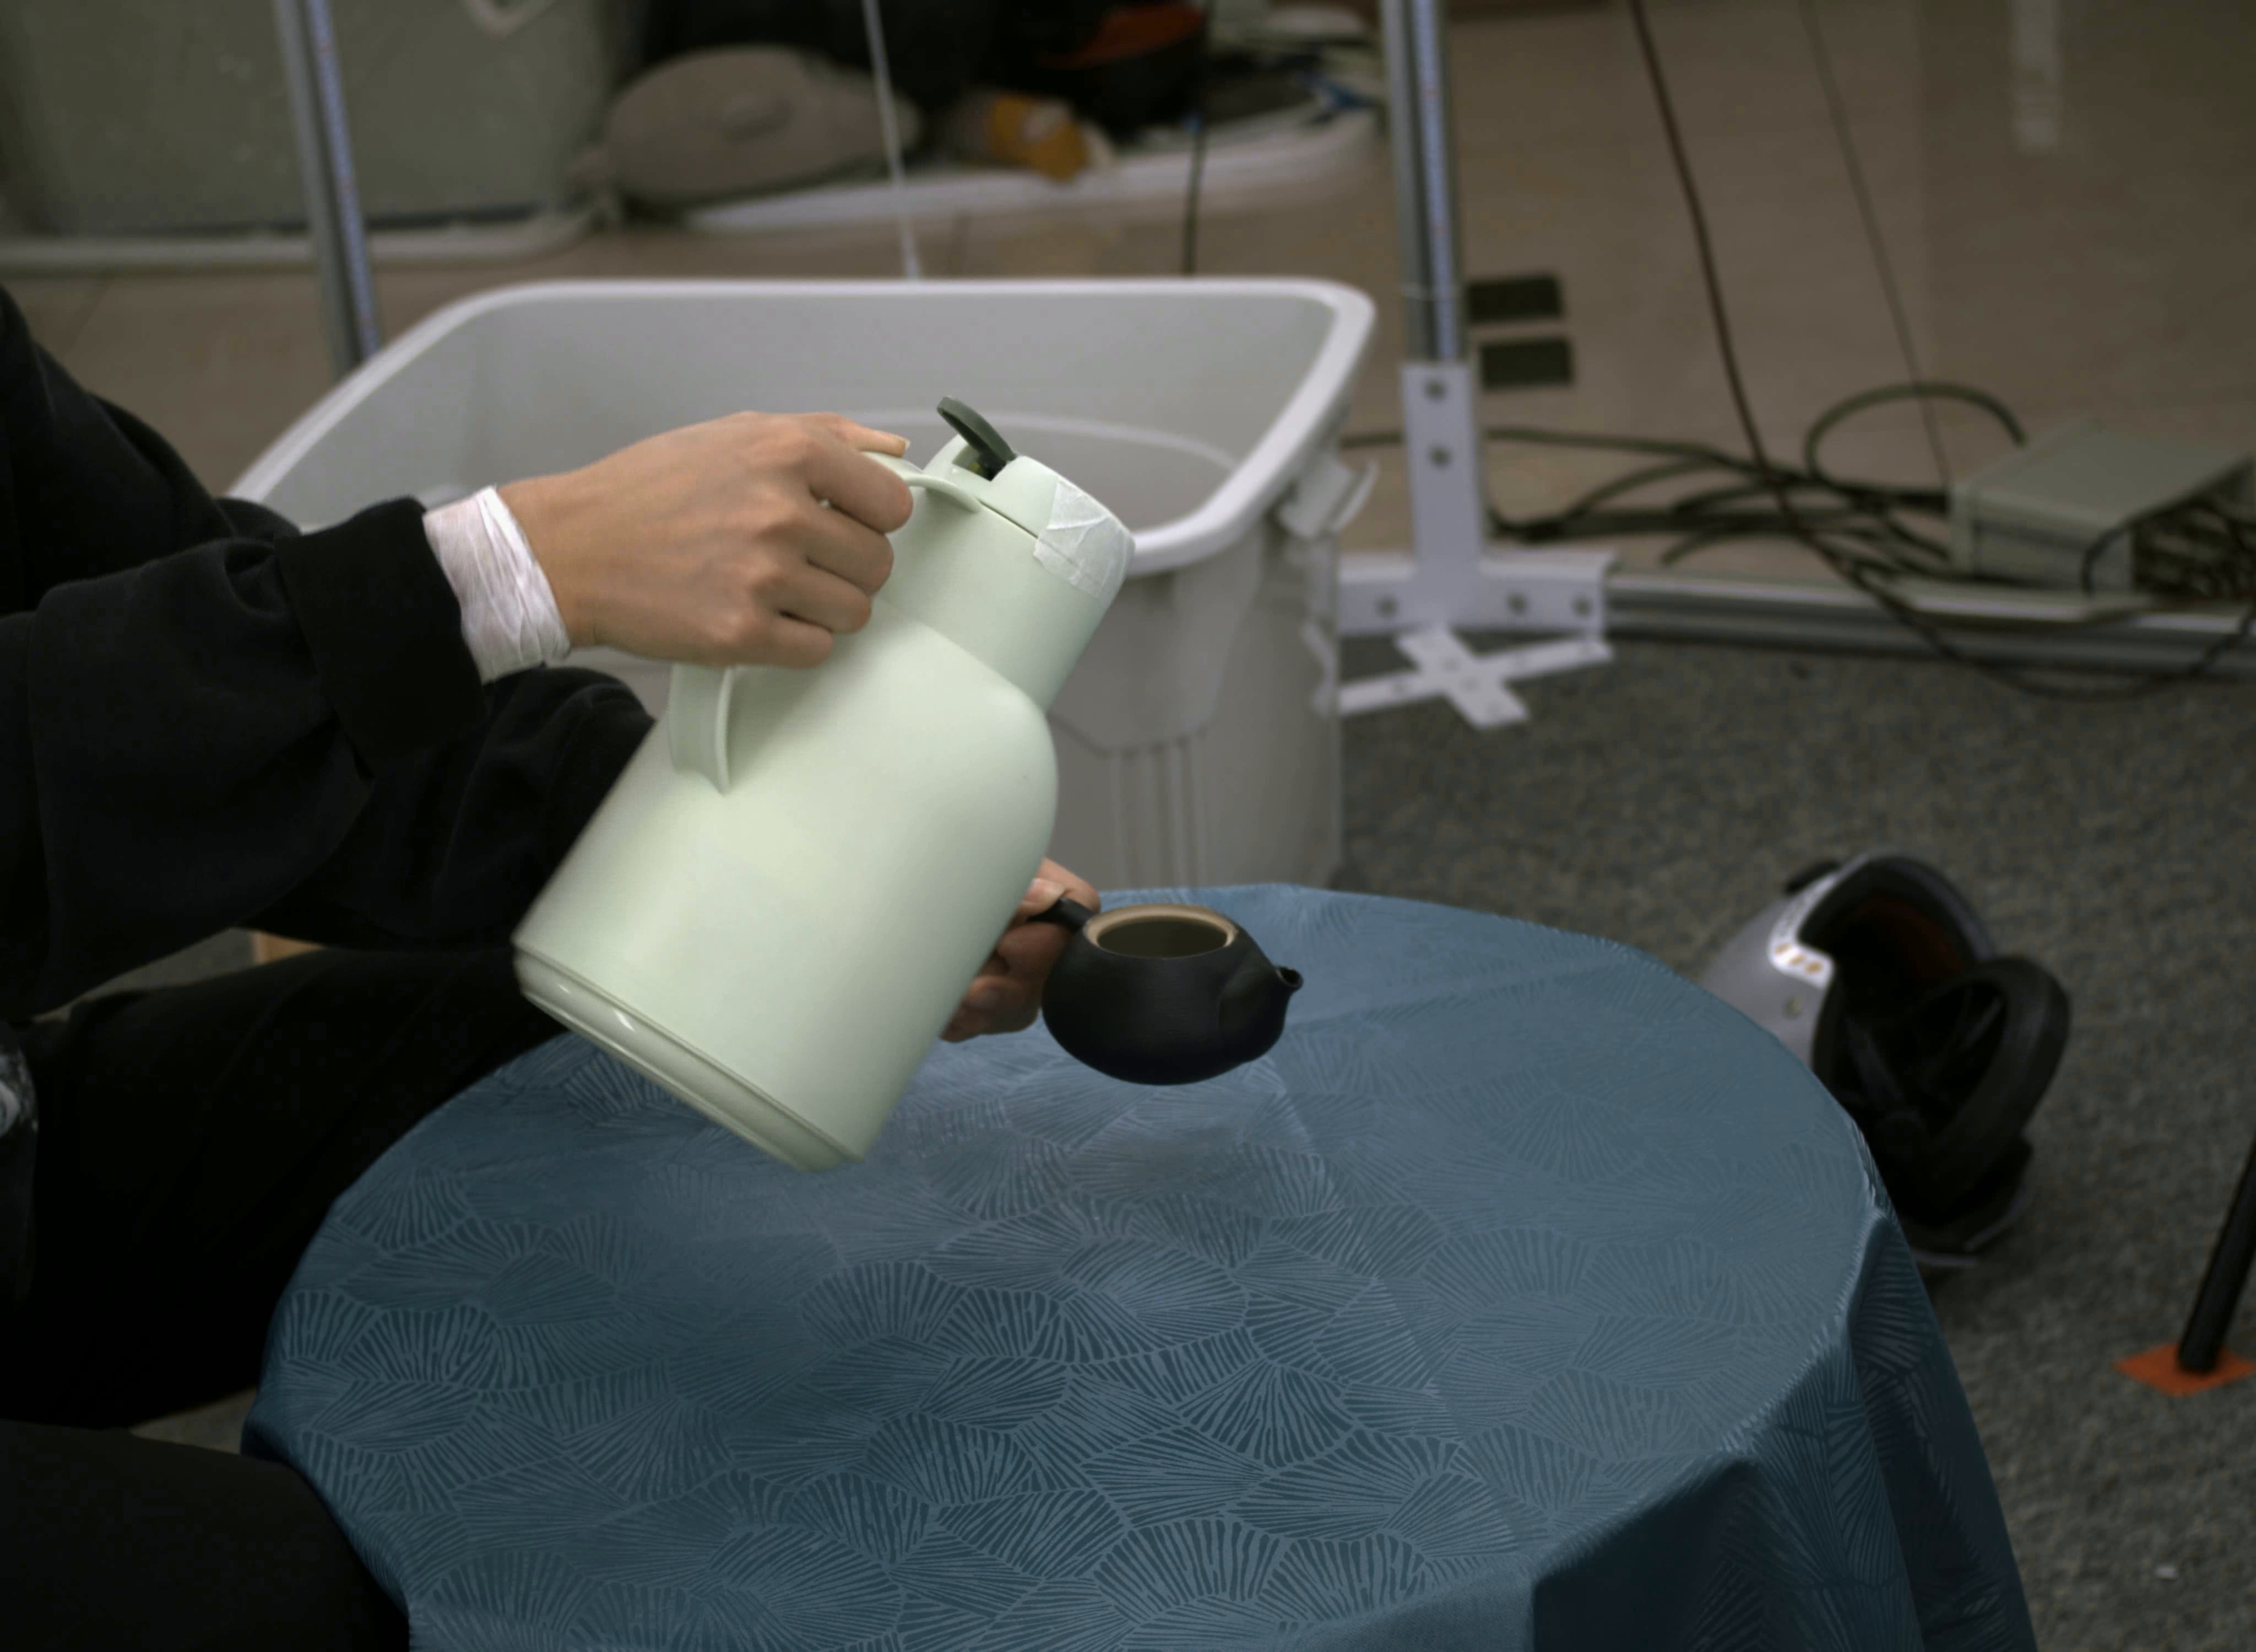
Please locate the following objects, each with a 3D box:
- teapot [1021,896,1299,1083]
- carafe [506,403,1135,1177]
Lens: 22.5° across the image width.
[{"bbox_3d":[0.011,0.063,2.128,0.132,0.054,0.090,18,26,37],"label":"teapot"},{"bbox_3d":[-0.103,-0.020,1.975,0.143,0.189,0.256,28,84,38],"label":"carafe"}]
